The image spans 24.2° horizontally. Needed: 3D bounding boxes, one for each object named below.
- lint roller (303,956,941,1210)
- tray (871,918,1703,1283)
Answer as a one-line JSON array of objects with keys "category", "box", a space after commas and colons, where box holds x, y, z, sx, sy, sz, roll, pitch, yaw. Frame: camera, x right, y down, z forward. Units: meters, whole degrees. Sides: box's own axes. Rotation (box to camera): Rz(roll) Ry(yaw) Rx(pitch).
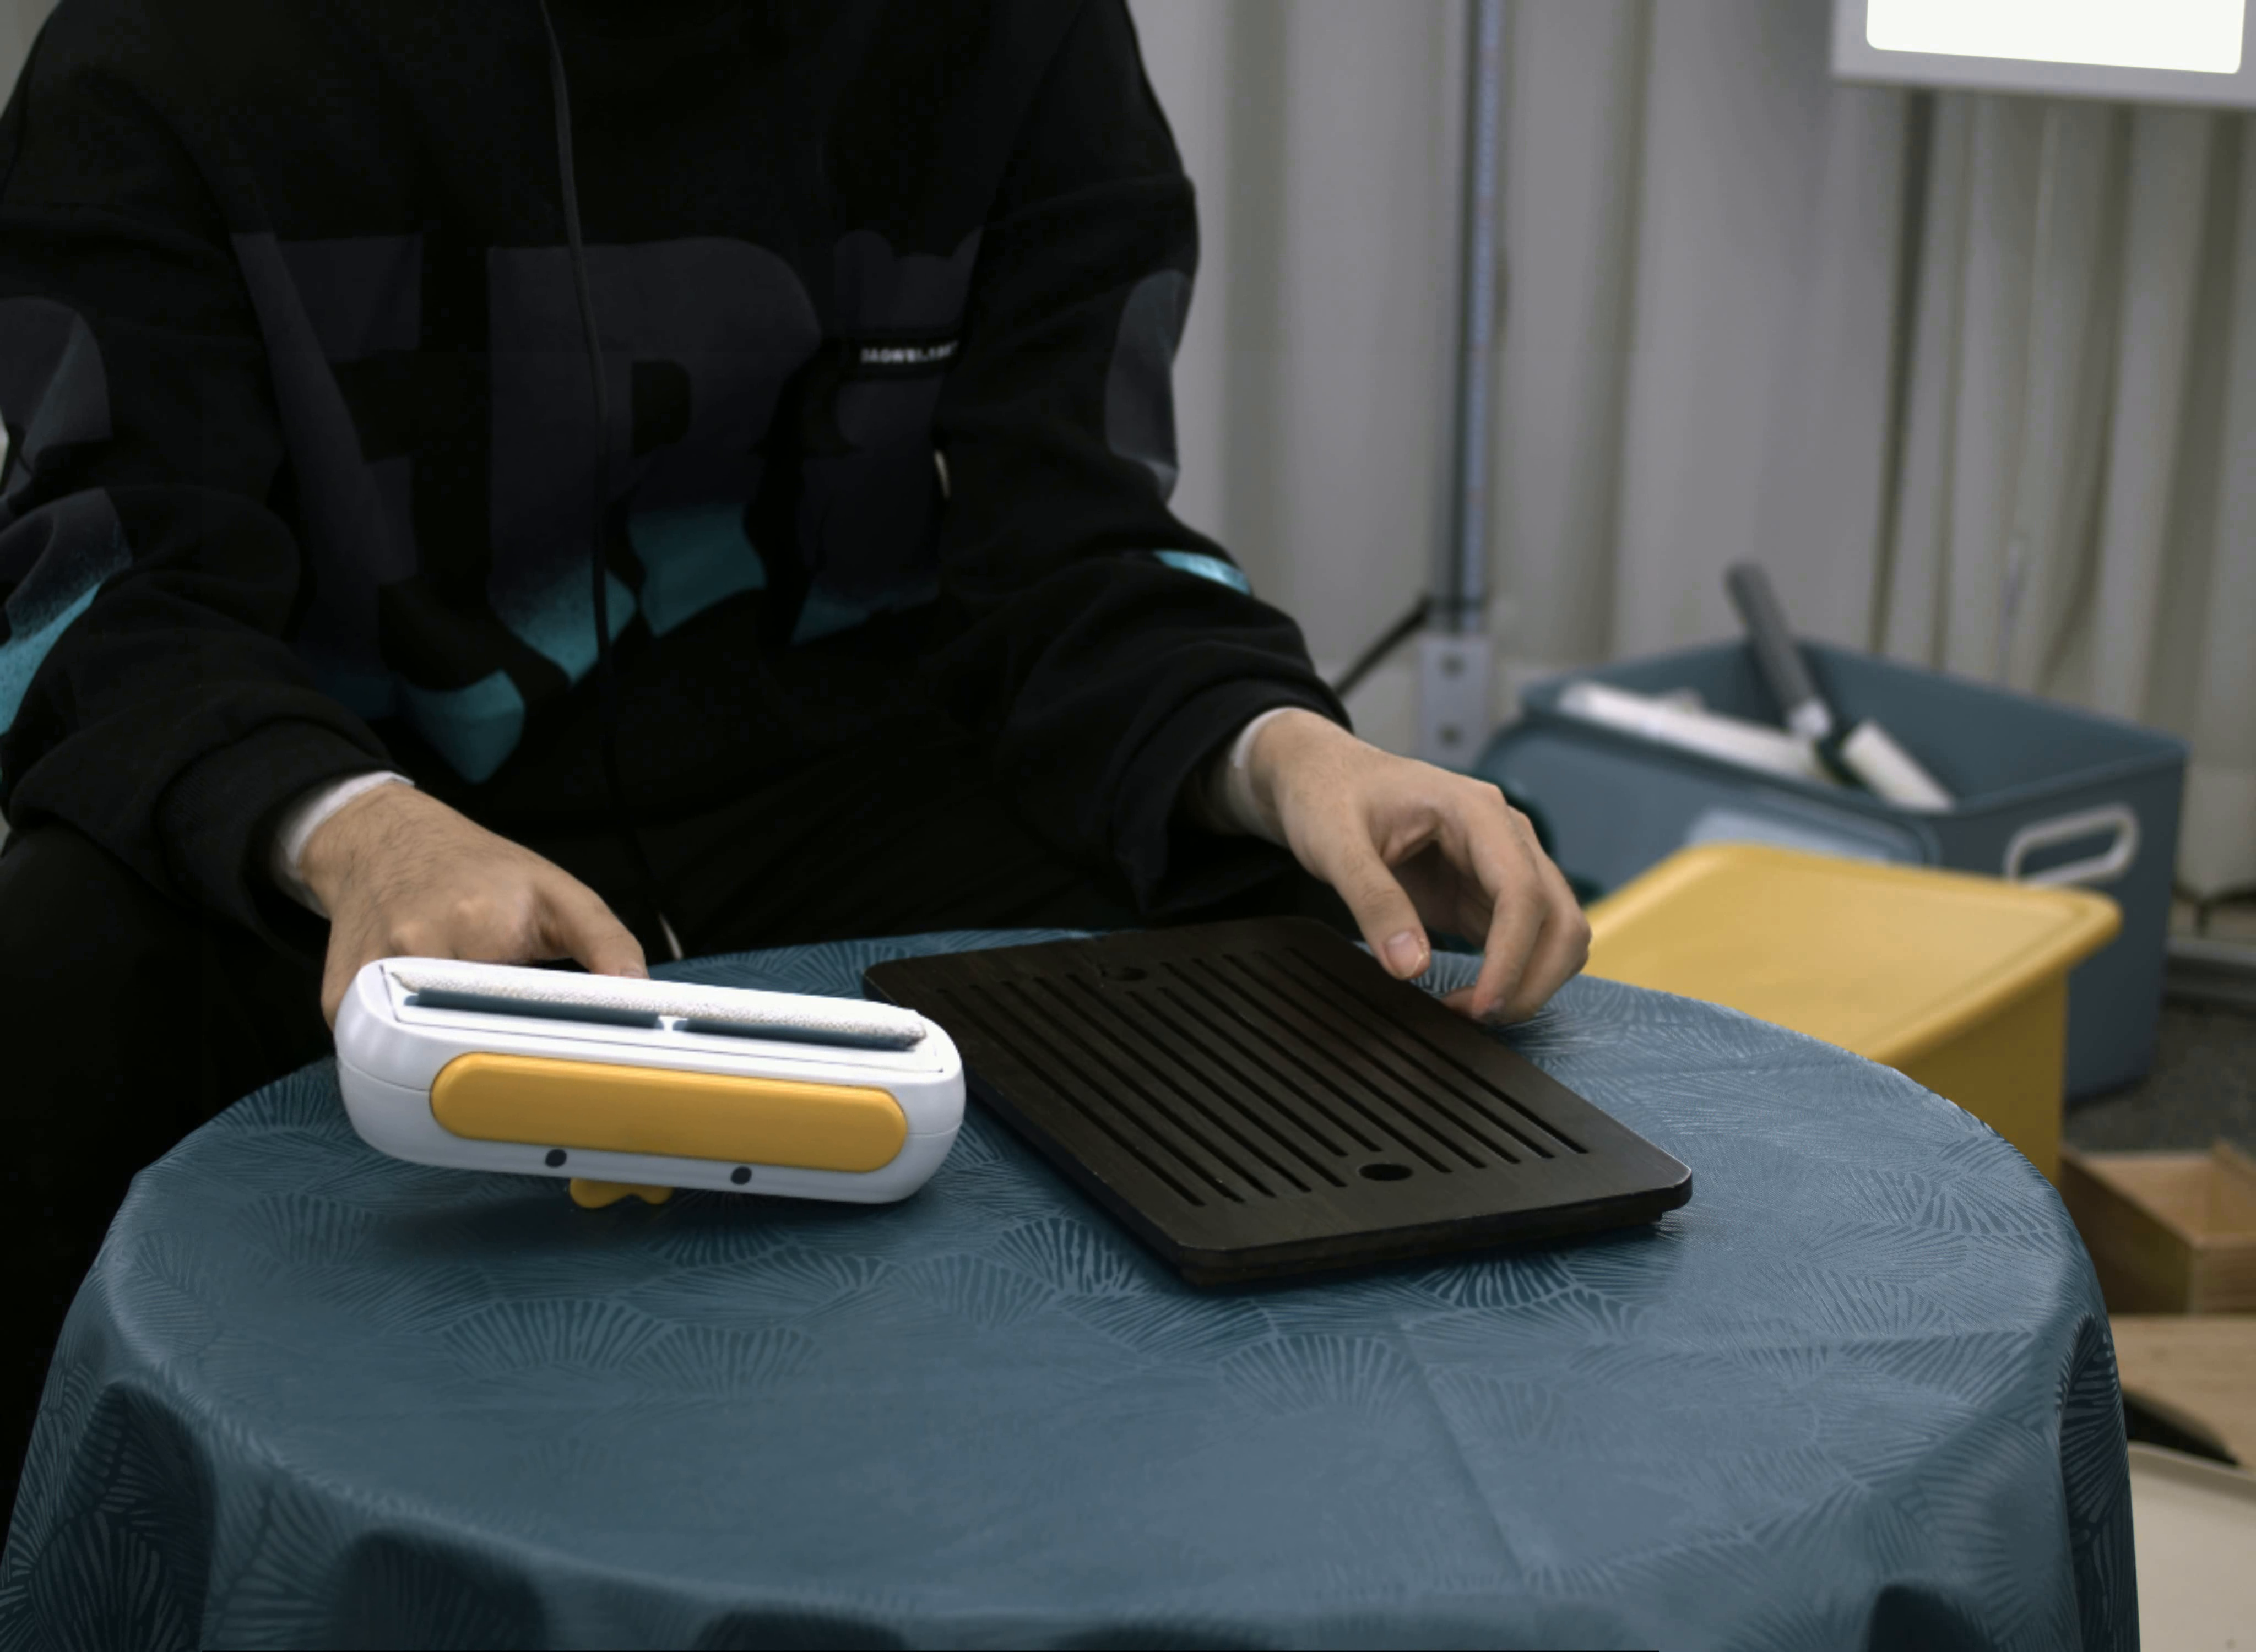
[{"category": "lint roller", "box": [-0.164, 0.070, 1.642, 0.193, 0.074, 0.191, 3, 13, -14]}, {"category": "tray", "box": [0.043, 0.084, 1.688, 0.170, 0.019, 0.302, -6, 17, -21]}]
